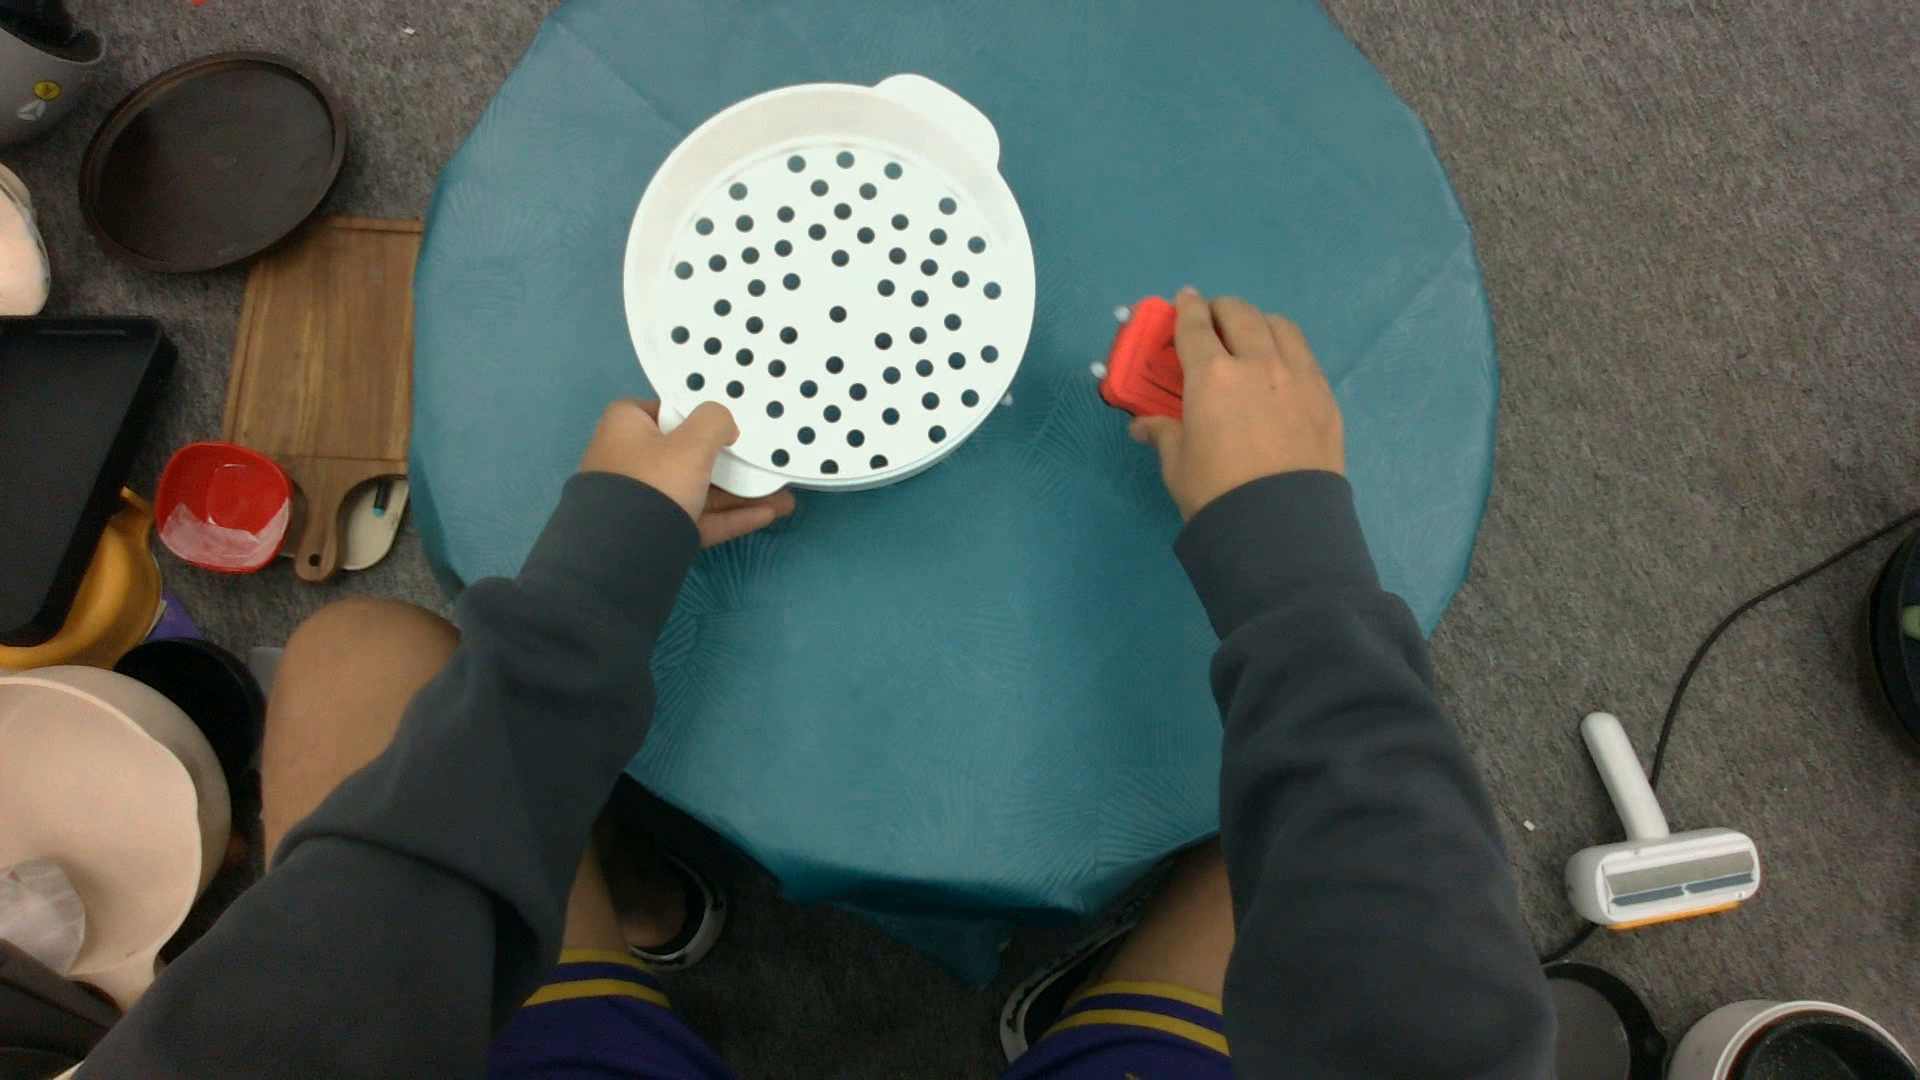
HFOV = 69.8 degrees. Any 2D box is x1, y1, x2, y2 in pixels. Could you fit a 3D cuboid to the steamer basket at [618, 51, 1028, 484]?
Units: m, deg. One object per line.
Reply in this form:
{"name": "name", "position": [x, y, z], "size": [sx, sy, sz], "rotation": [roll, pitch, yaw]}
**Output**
{"name": "steamer basket", "position": [-0.068, -0.135, 0.705], "size": [0.202, 0.069, 0.230], "rotation": [32, 88, -3]}

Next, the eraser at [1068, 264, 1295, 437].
{"name": "eraser", "position": [0.111, -0.093, 0.687], "size": [0.108, 0.023, 0.059], "rotation": [19, 89, -17]}
